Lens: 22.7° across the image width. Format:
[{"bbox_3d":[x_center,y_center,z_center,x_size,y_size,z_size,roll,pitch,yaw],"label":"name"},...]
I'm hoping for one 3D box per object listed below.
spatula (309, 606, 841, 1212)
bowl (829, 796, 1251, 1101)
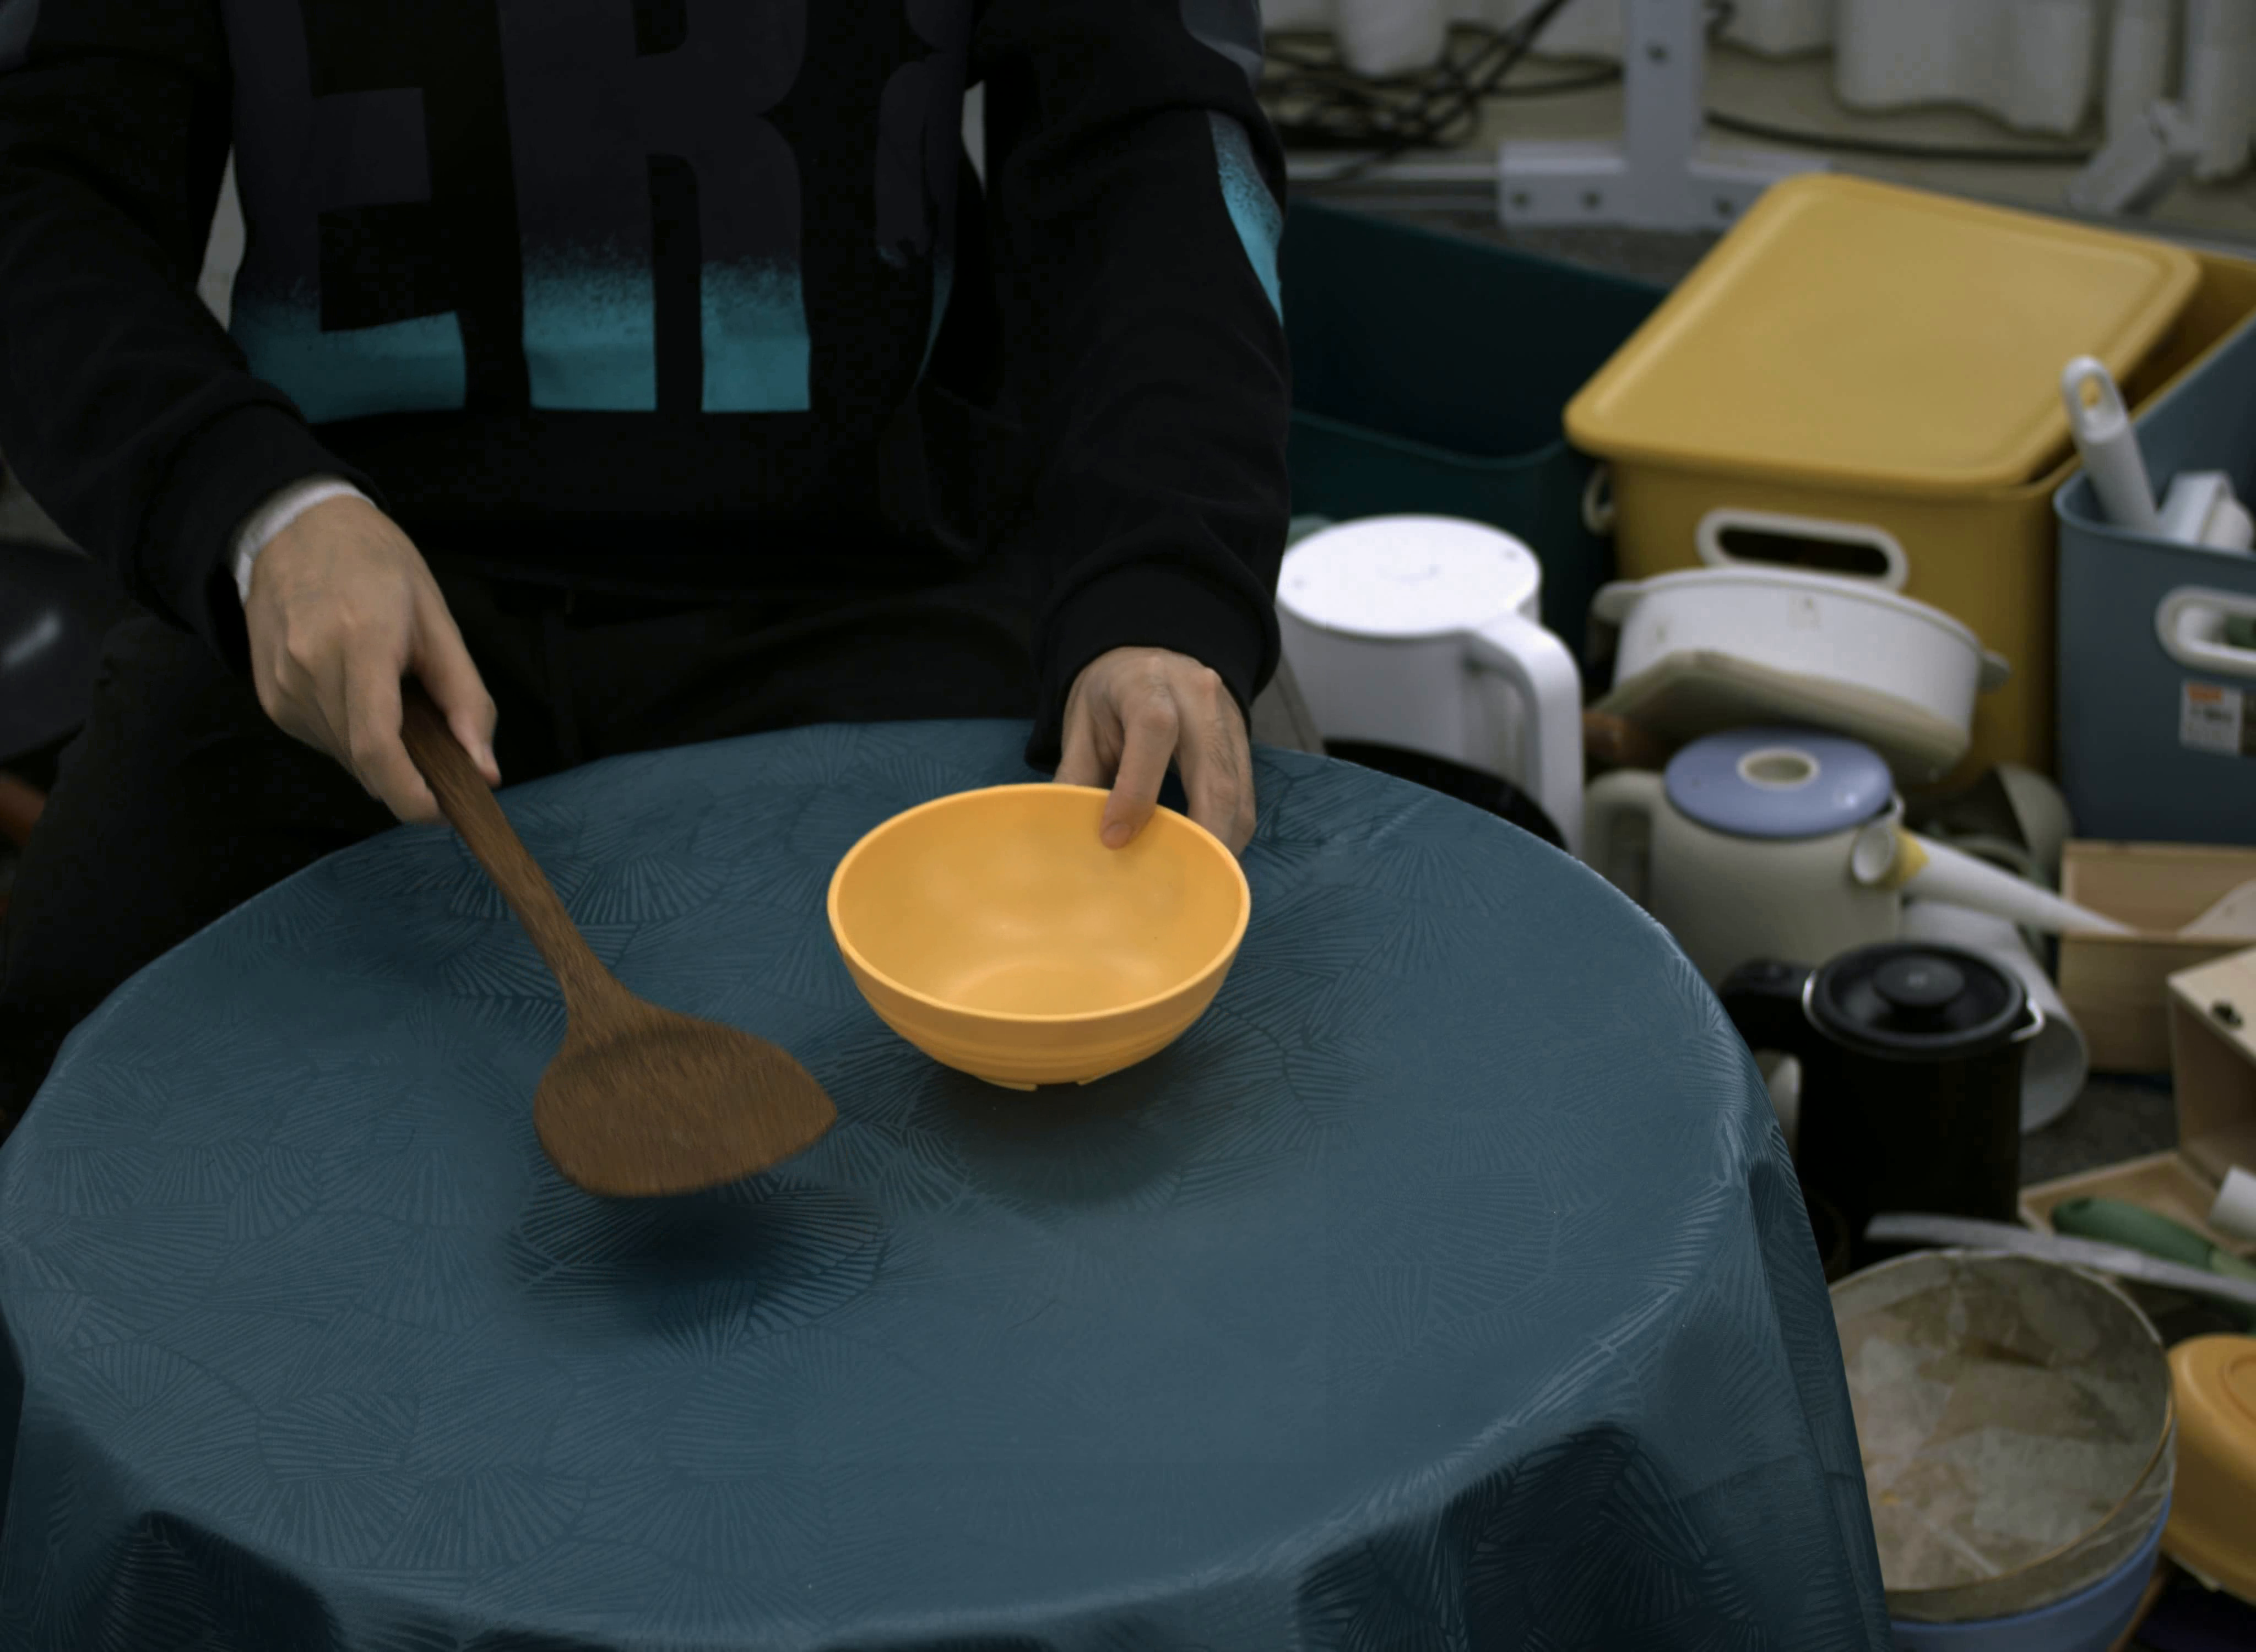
[{"bbox_3d":[-0.212,0.019,1.948,0.096,0.015,0.389,-15,38,-21],"label":"spatula"},{"bbox_3d":[-0.031,0.052,1.928,0.144,0.059,0.148,2,30,-1],"label":"bowl"}]
